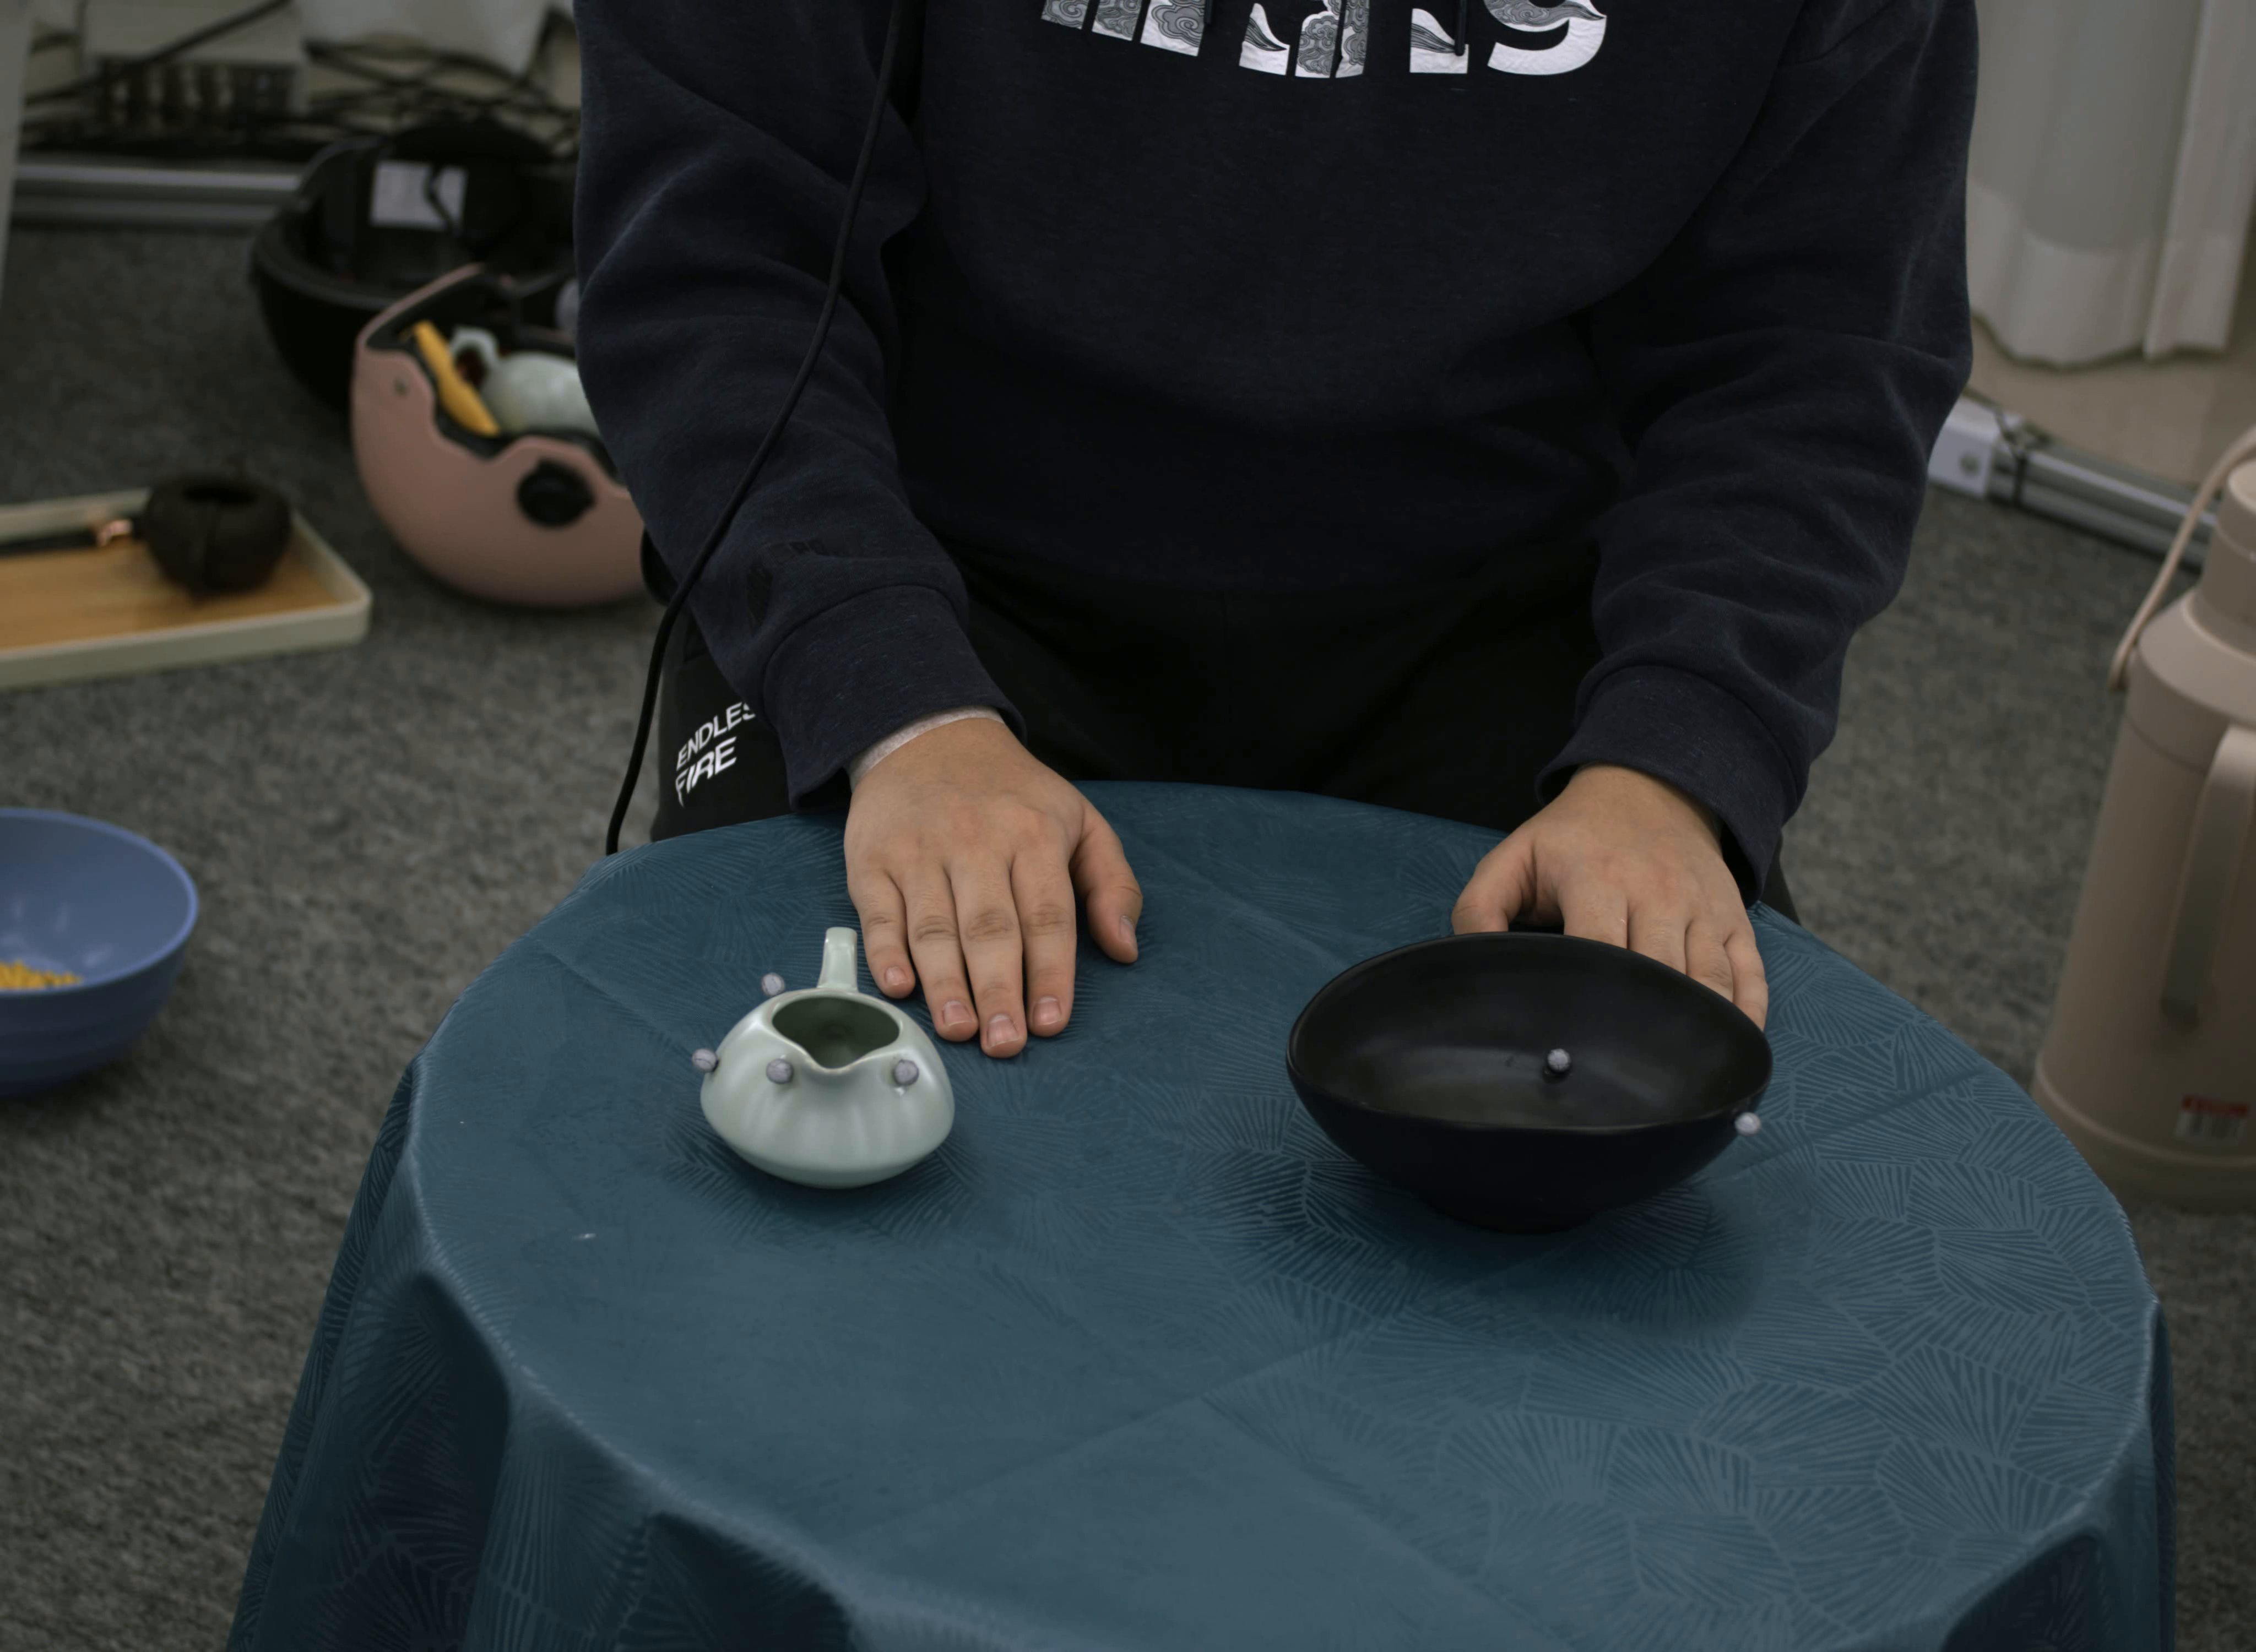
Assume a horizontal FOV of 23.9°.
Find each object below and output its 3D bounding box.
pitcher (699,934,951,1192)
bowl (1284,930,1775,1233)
[{"bbox_3d":[-0.101,0.081,1.804,0.085,0.060,0.108,6,25,-5],"label":"pitcher"},{"bbox_3d":[0.136,0.097,1.823,0.169,0.066,0.138,-2,27,-15],"label":"bowl"}]
